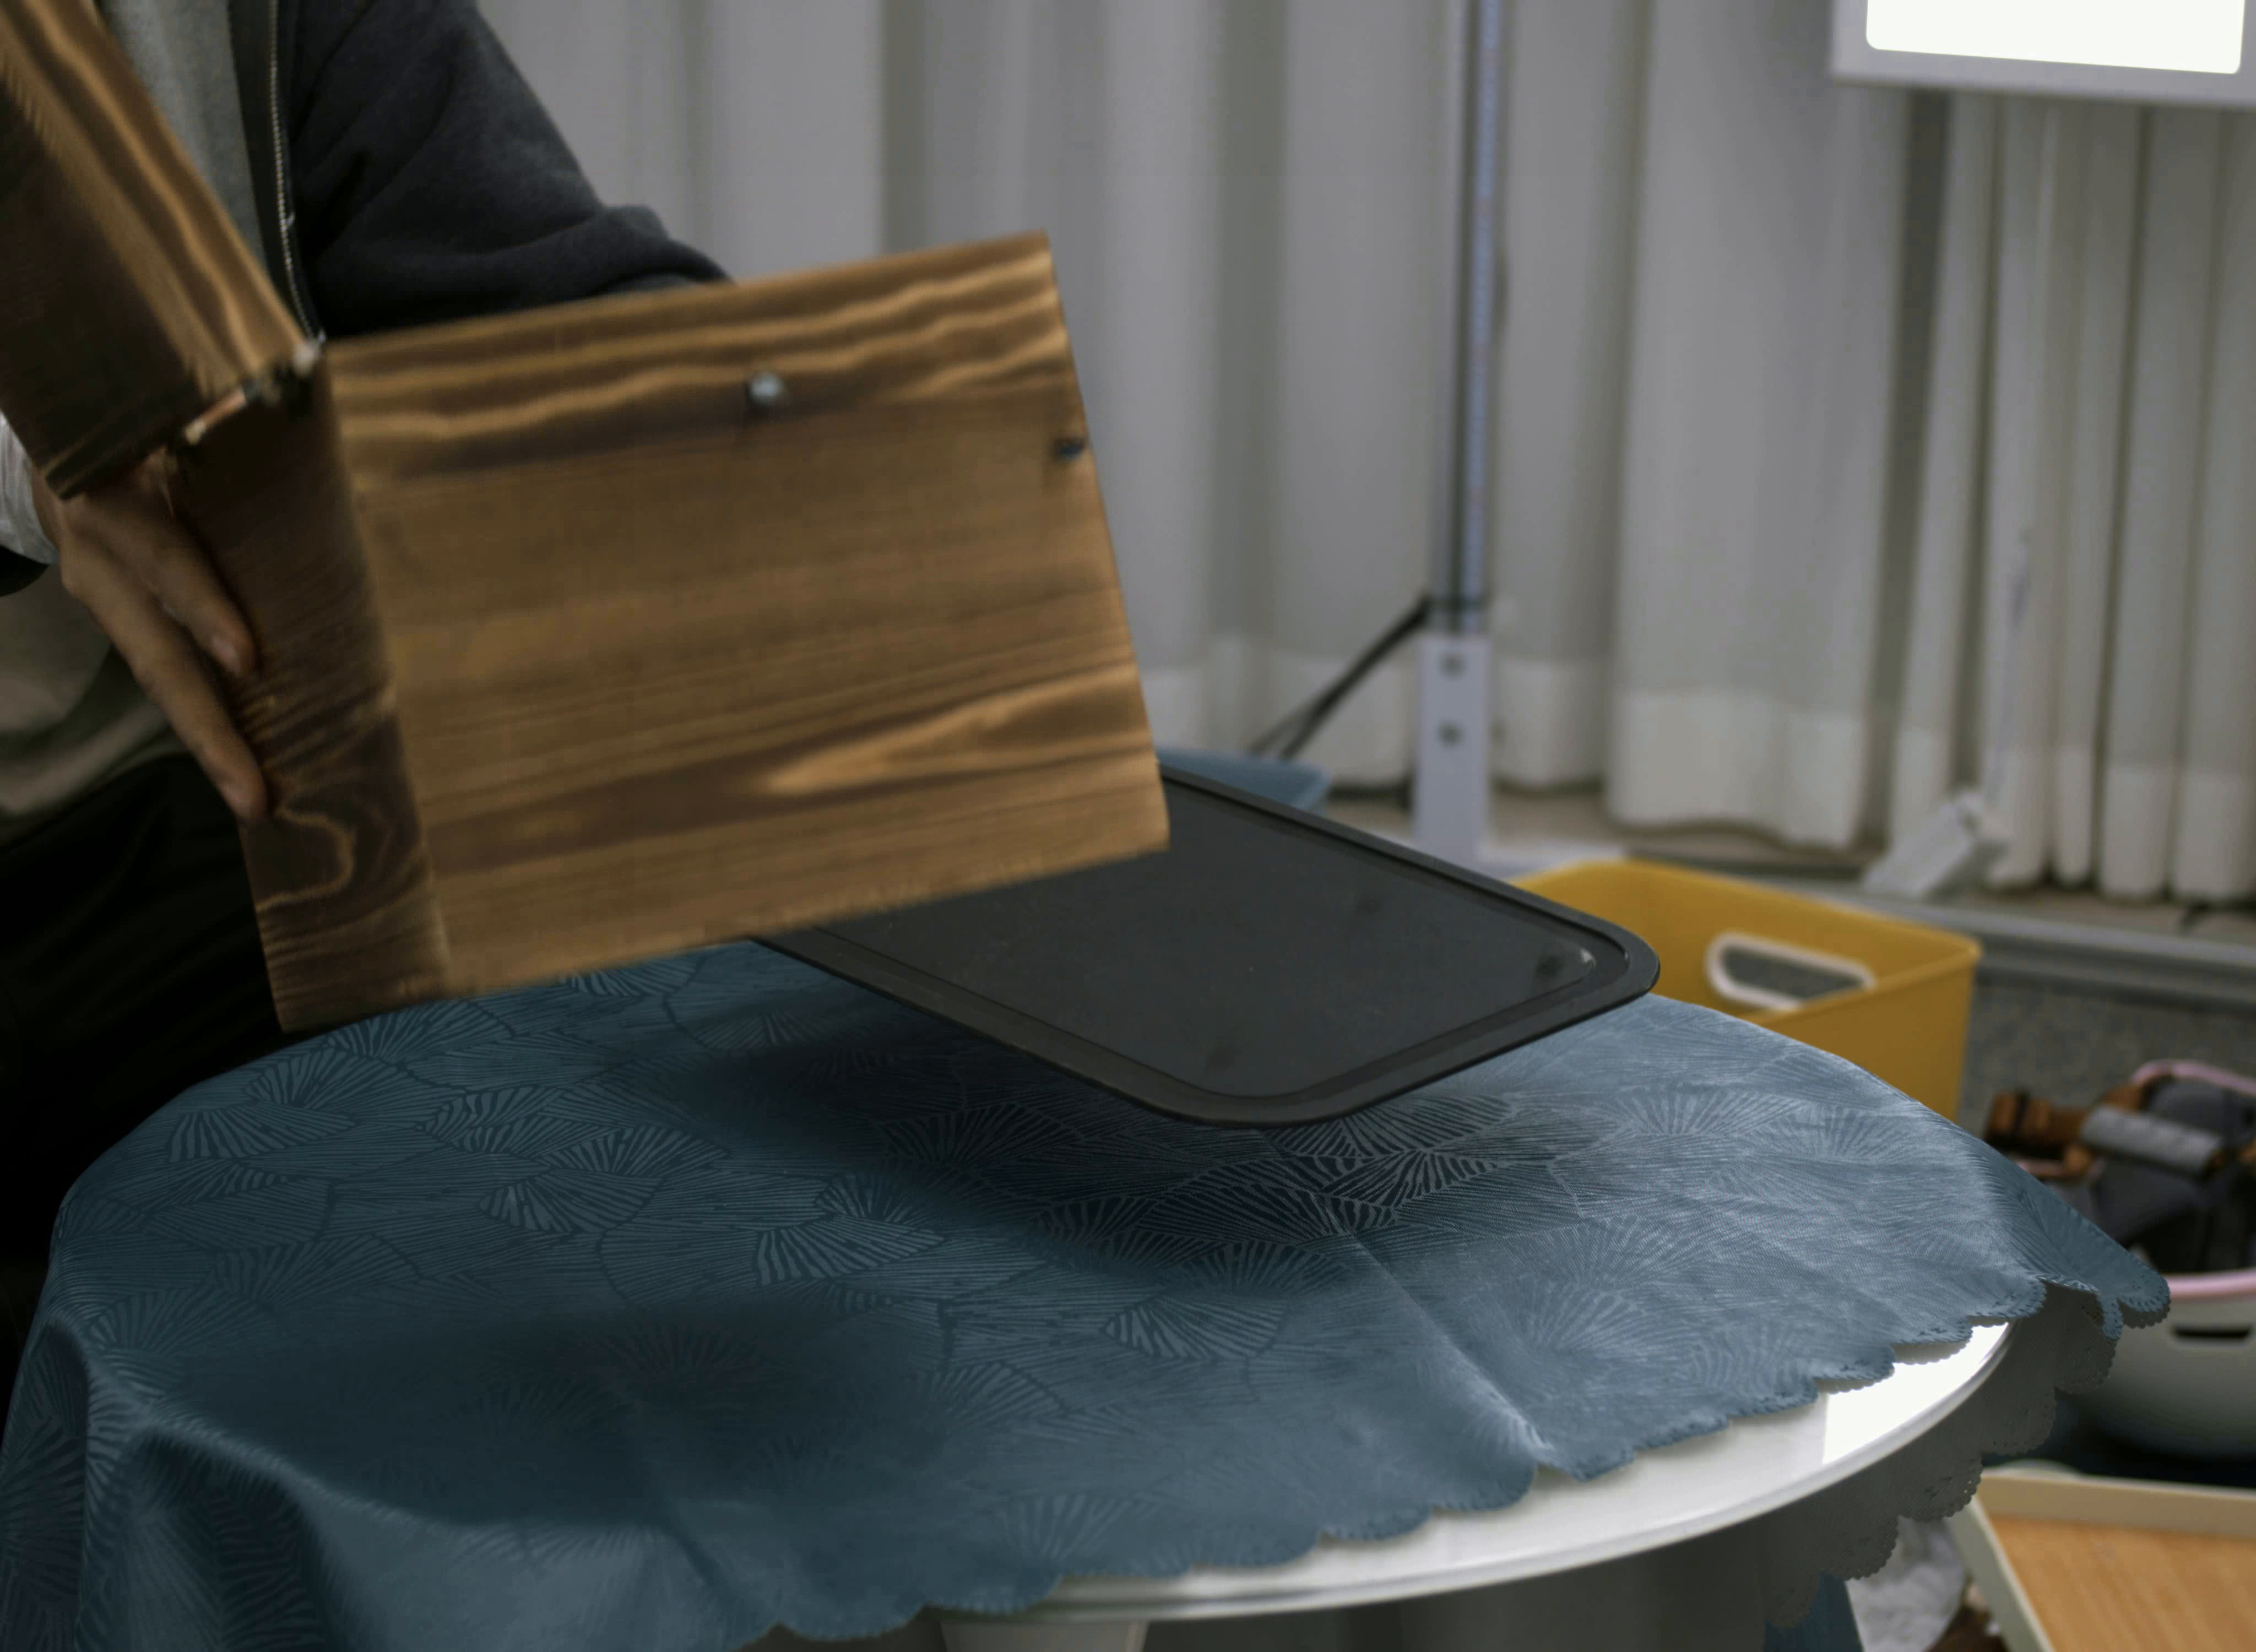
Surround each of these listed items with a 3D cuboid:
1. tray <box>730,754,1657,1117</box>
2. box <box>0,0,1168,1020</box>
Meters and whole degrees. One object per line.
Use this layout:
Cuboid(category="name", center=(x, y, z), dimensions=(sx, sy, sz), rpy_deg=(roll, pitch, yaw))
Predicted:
Cuboid(category="tray", center=(-0.002, 0.025, 1.696), dimensions=(0.321, 0.010, 0.212), rpy_deg=(21, 28, 41))
Cuboid(category="box", center=(-0.196, -0.138, 1.412), dimensions=(0.323, 0.376, 0.207), rpy_deg=(-12, 1, -23))
